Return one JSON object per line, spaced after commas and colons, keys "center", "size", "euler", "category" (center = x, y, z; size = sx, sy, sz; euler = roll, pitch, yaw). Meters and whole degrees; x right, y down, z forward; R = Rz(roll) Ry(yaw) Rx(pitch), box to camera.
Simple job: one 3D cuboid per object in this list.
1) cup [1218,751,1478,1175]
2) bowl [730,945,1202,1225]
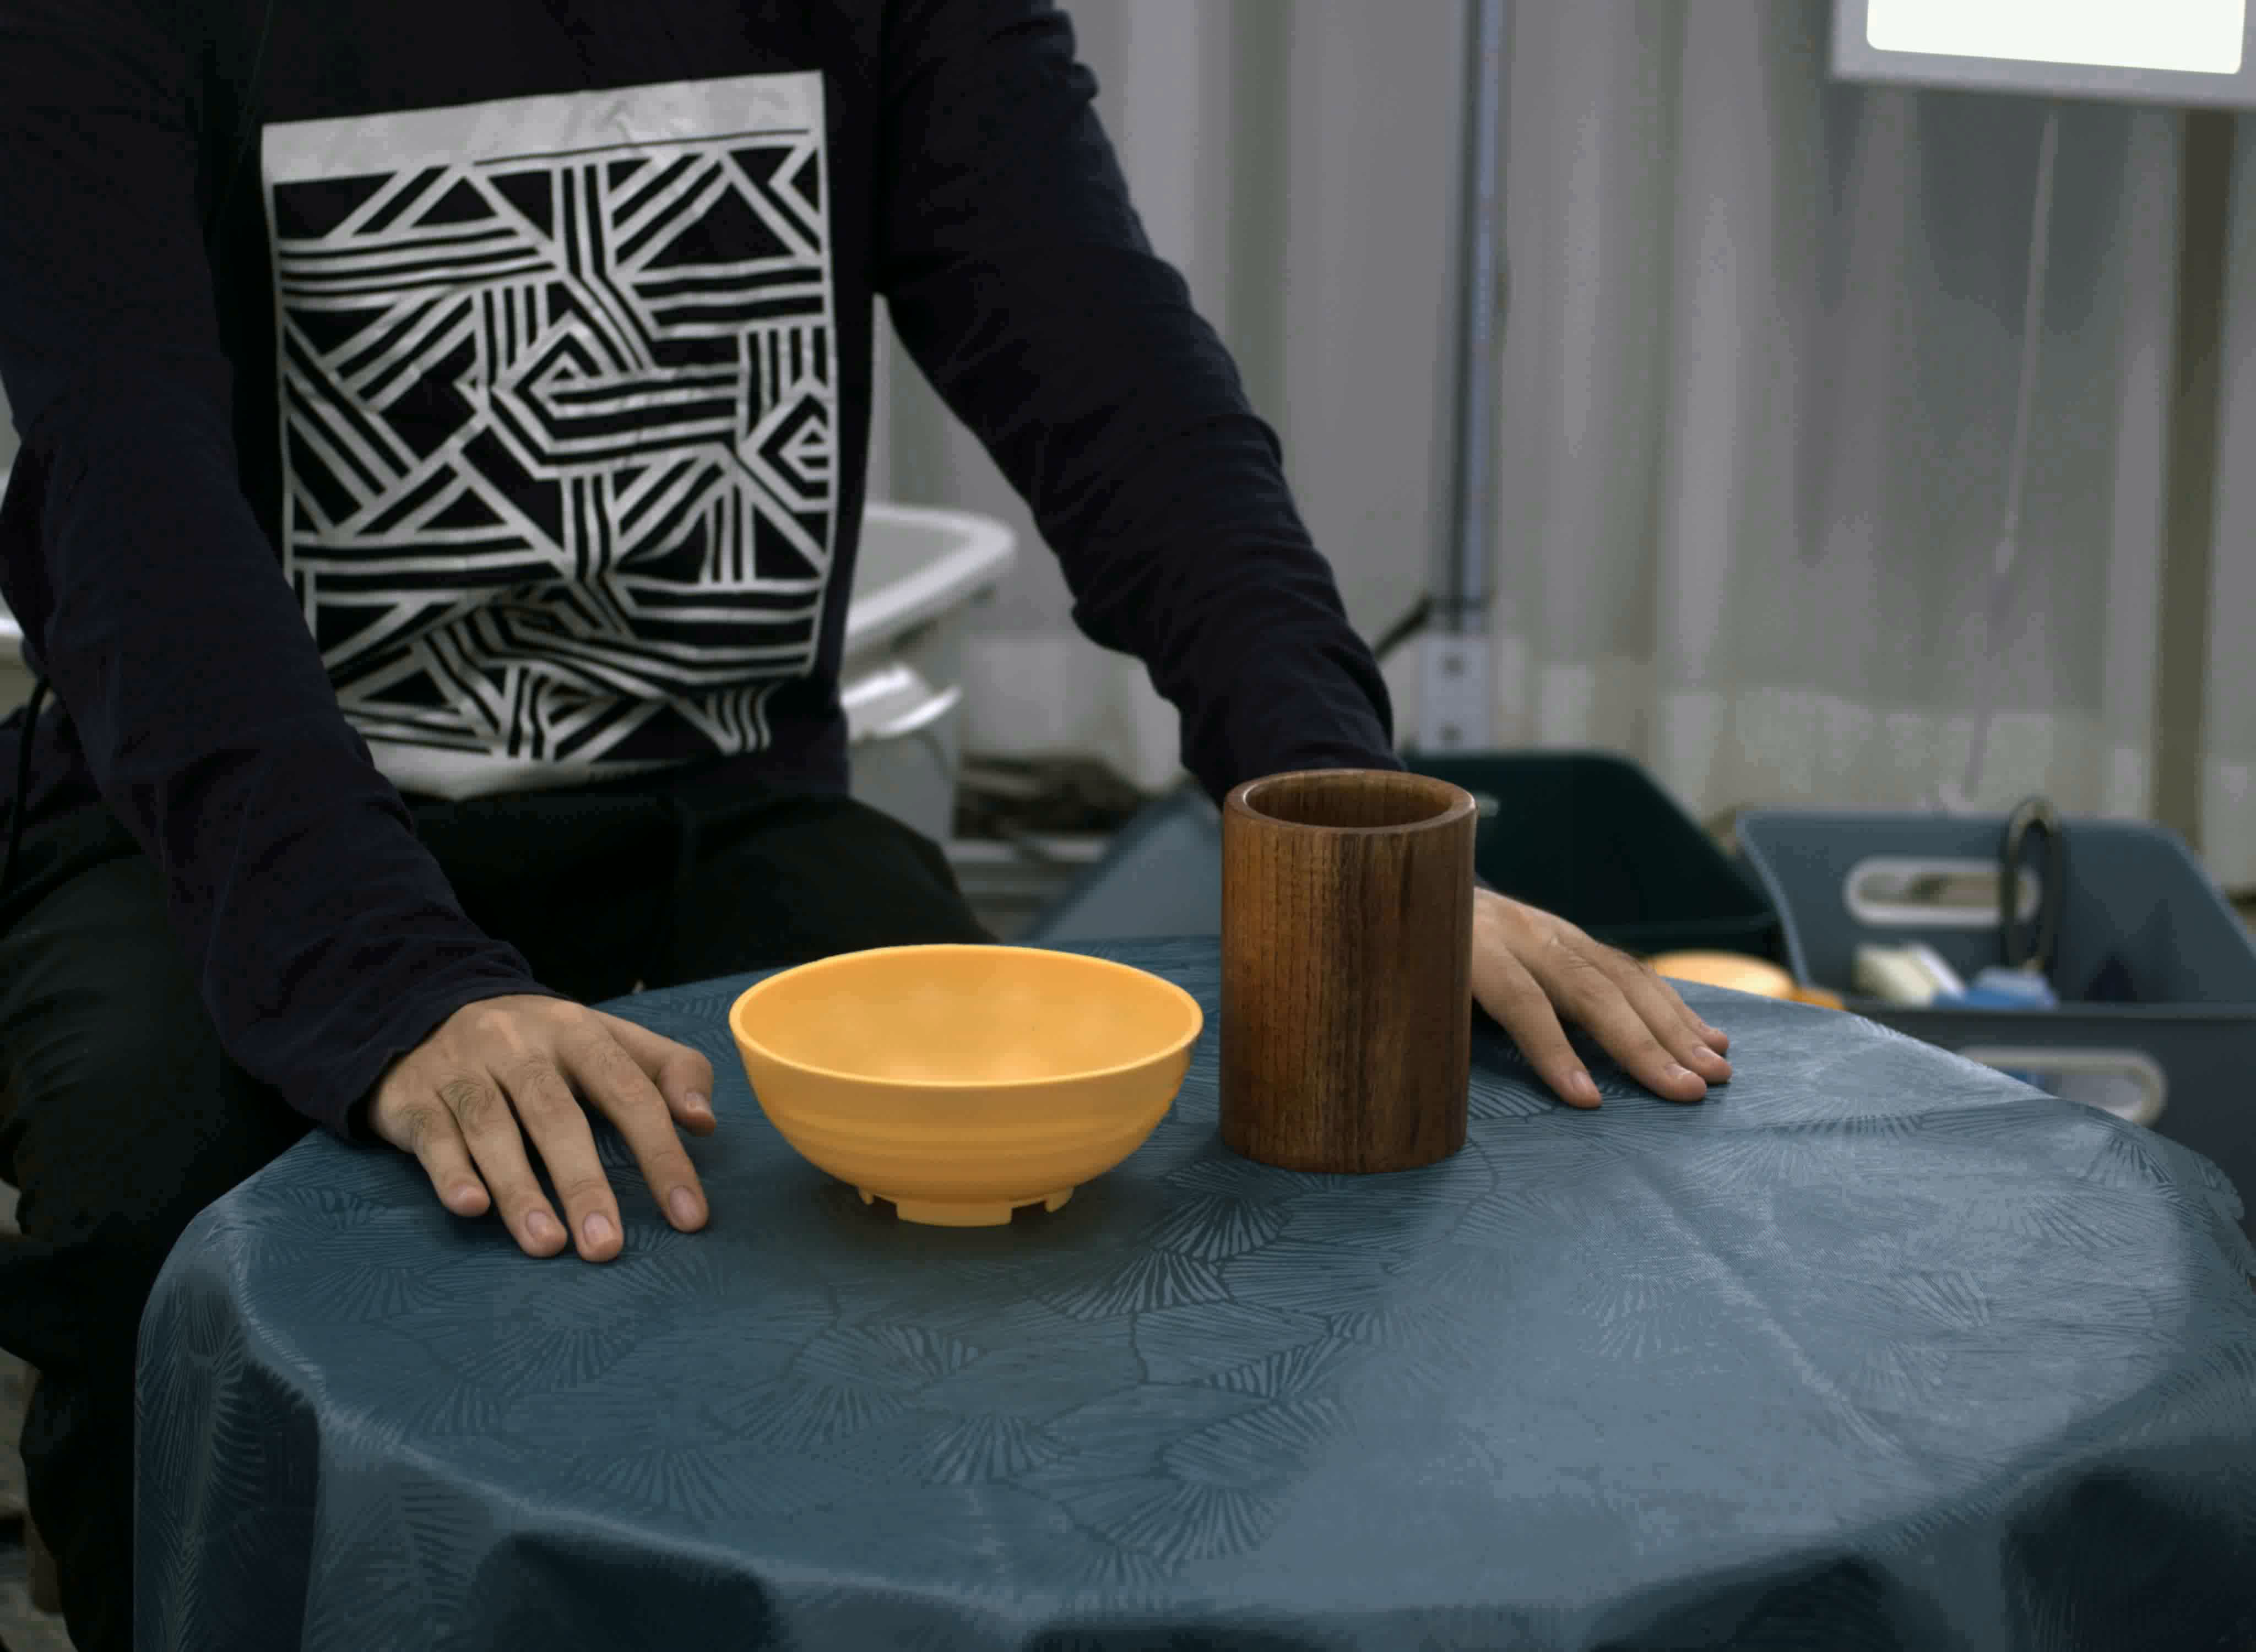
{"center": [0.068, 0.042, 1.663], "size": [0.087, 0.119, 0.087], "euler": [1, 15, 0], "category": "cup"}
{"center": [-0.050, 0.084, 1.613], "size": [0.145, 0.060, 0.144], "euler": [1, 15, 0], "category": "bowl"}
